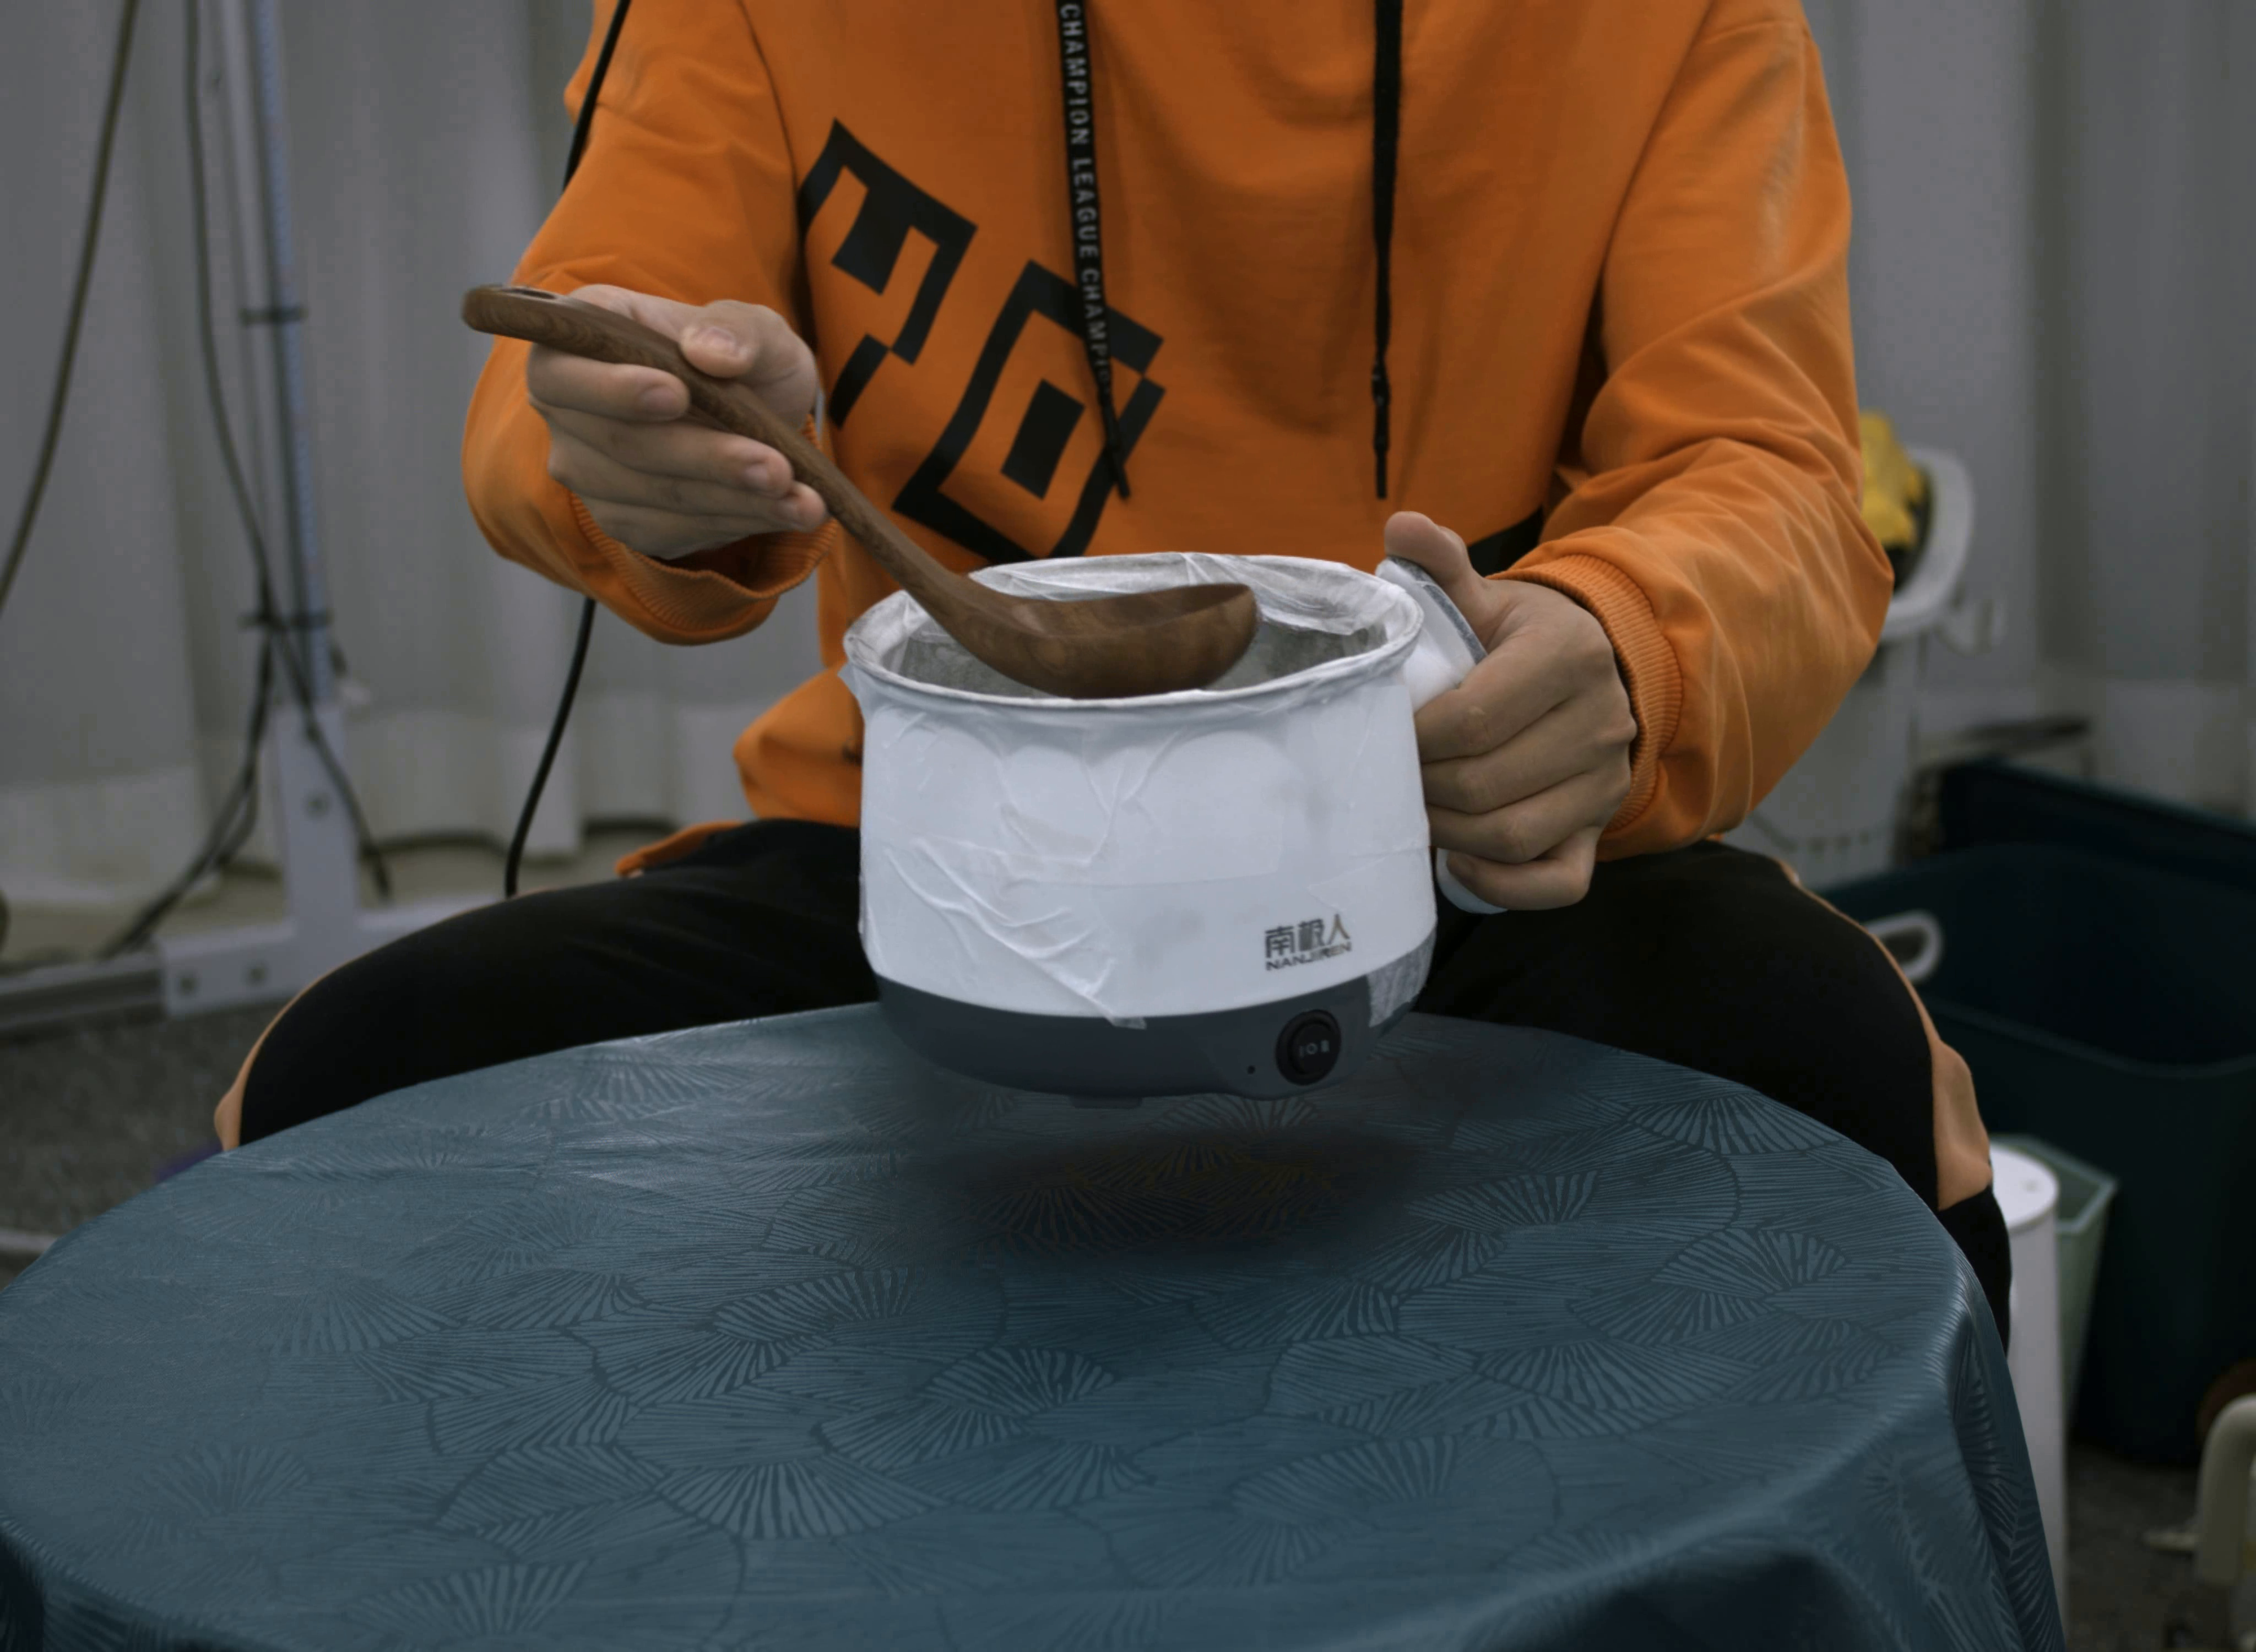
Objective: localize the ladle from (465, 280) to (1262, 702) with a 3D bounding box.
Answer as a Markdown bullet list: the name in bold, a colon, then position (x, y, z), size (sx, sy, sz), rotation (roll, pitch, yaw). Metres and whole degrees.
- **ladle**: position (-0.078, -0.110, 1.643), size (0.260, 0.065, 0.076), rotation (34, 10, 5)

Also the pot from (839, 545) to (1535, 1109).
- **pot**: position (0.026, -0.007, 1.695), size (0.233, 0.136, 0.180), rotation (-14, 21, -32)
